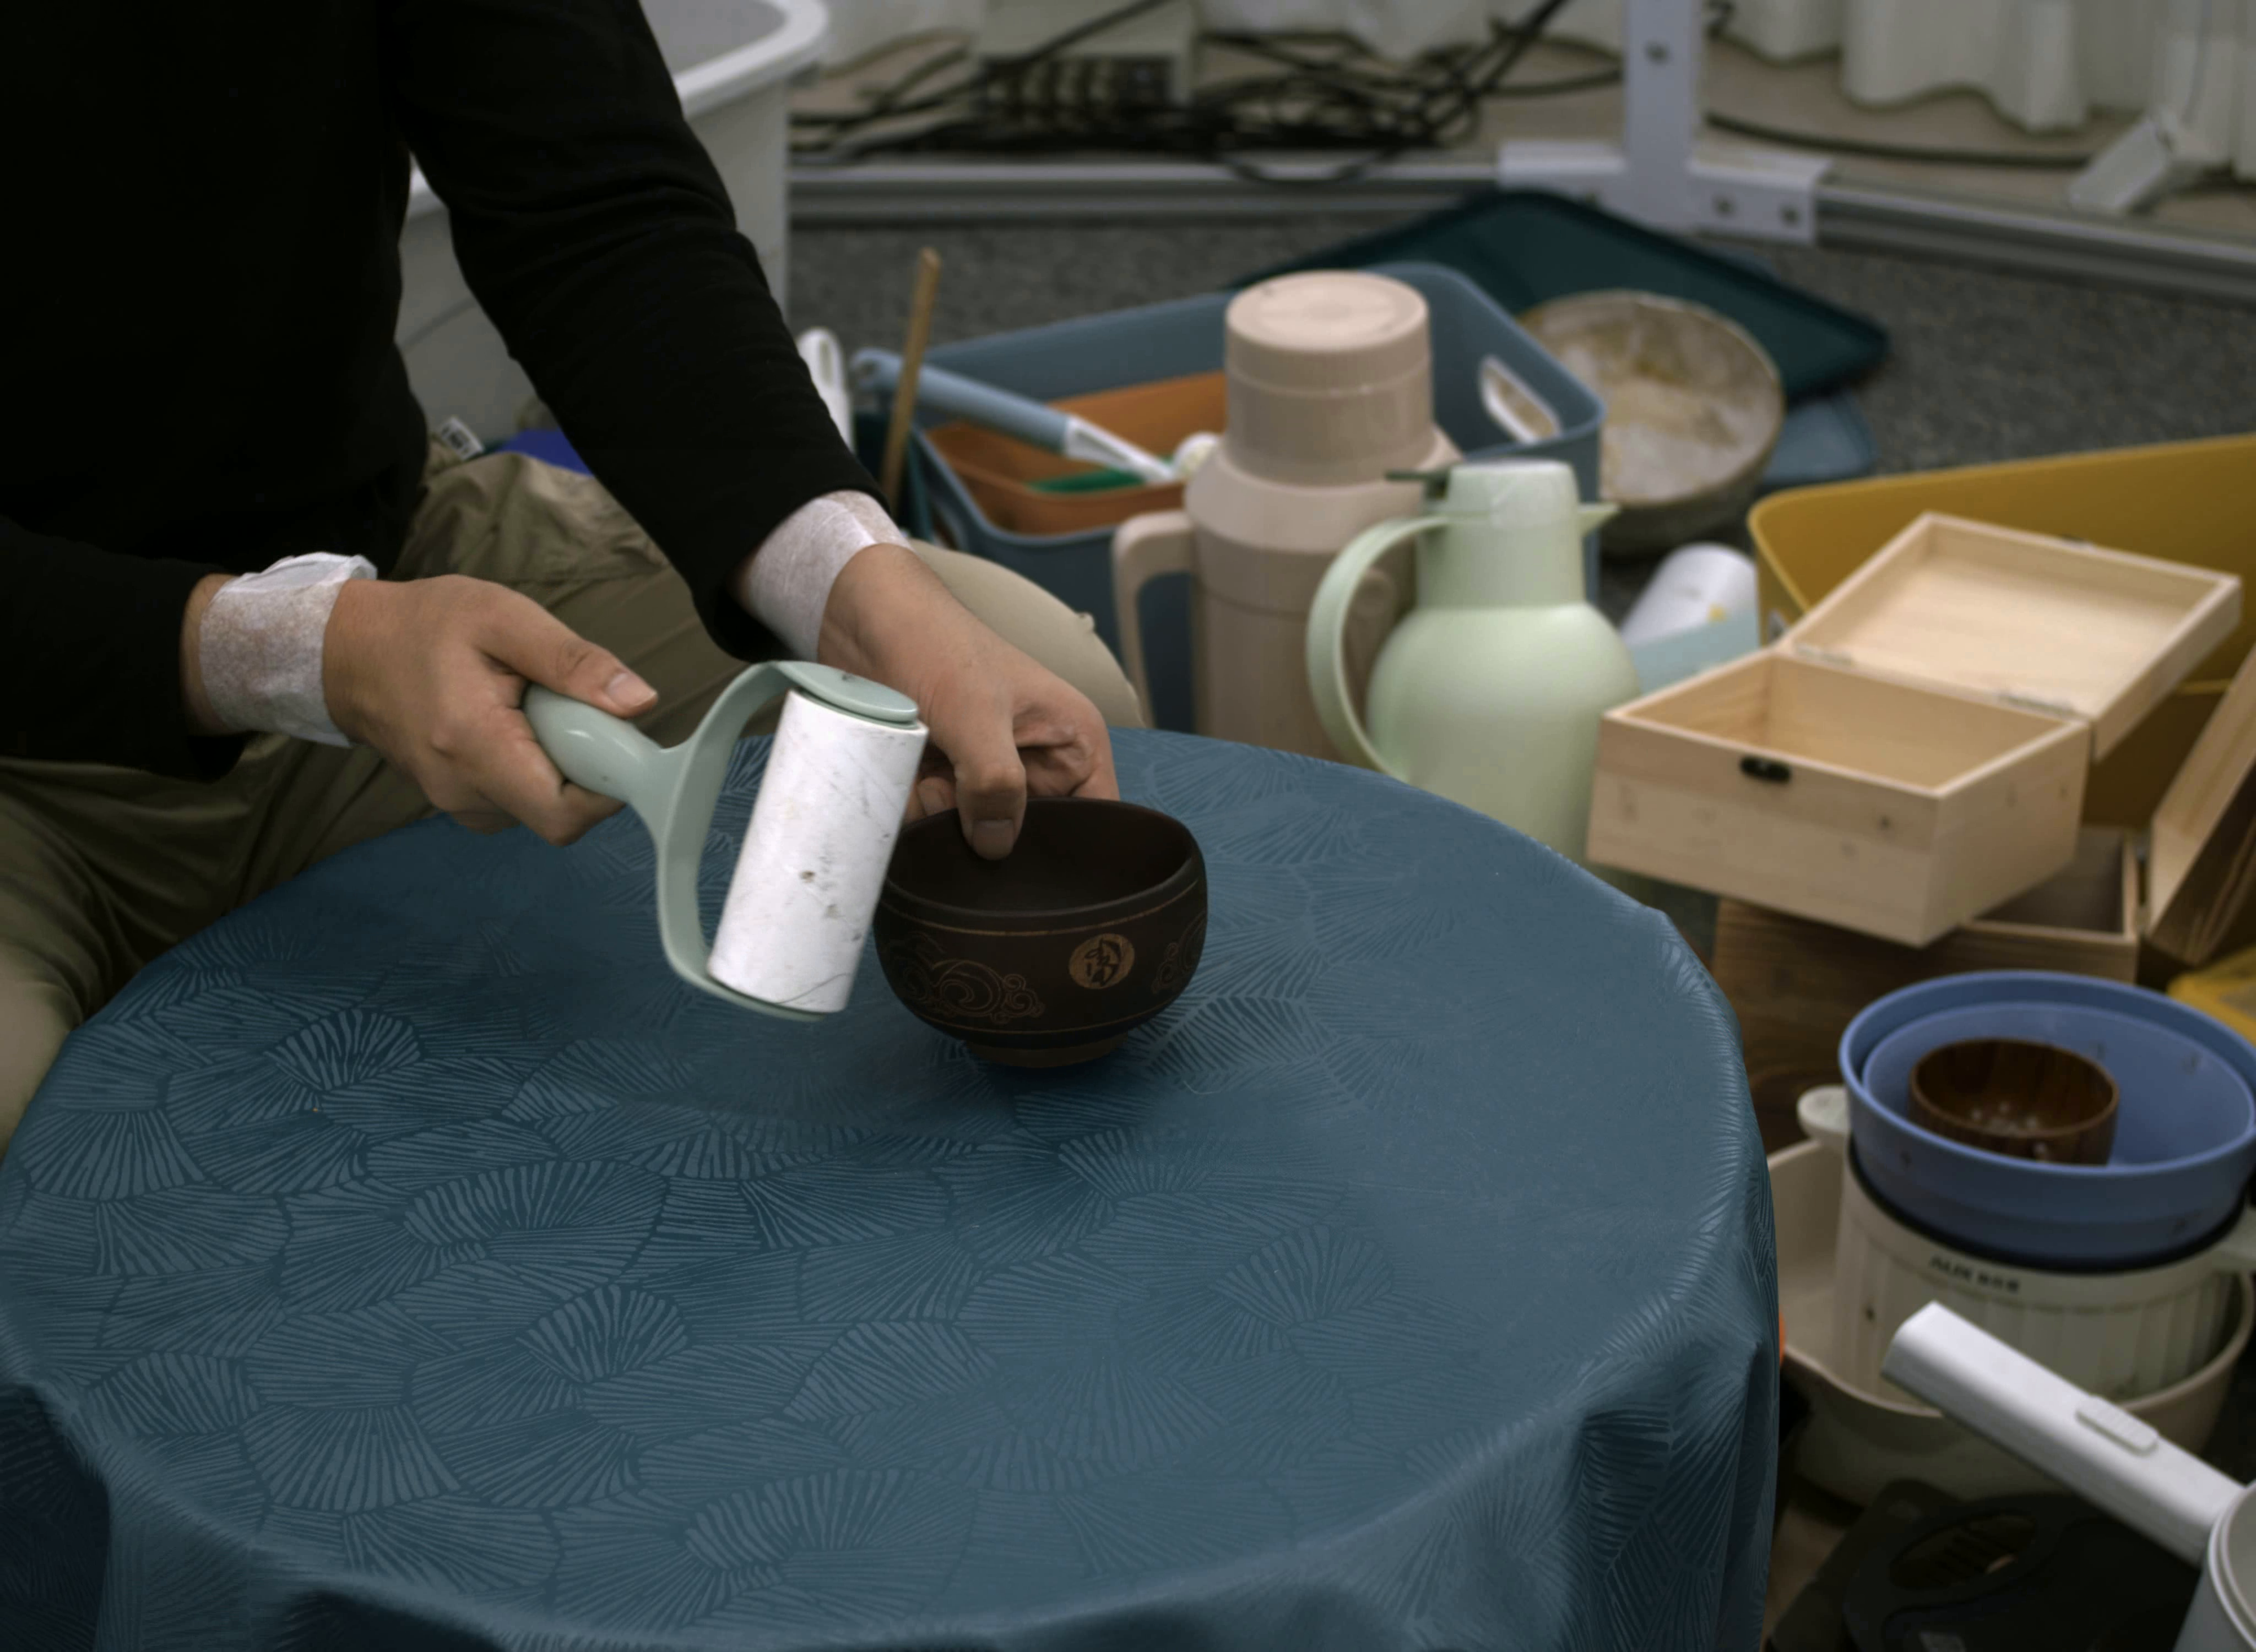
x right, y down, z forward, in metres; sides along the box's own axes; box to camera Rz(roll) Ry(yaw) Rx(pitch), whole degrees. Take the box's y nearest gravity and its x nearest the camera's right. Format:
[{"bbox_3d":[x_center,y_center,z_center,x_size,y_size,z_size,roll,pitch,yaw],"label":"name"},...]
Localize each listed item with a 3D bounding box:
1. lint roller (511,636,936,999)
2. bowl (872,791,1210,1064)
[{"bbox_3d":[-0.151,-0.024,1.910,0.197,0.116,0.048,24,11,38],"label":"lint roller"},{"bbox_3d":[-0.029,0.040,1.938,0.117,0.069,0.119,-3,20,1],"label":"bowl"}]
